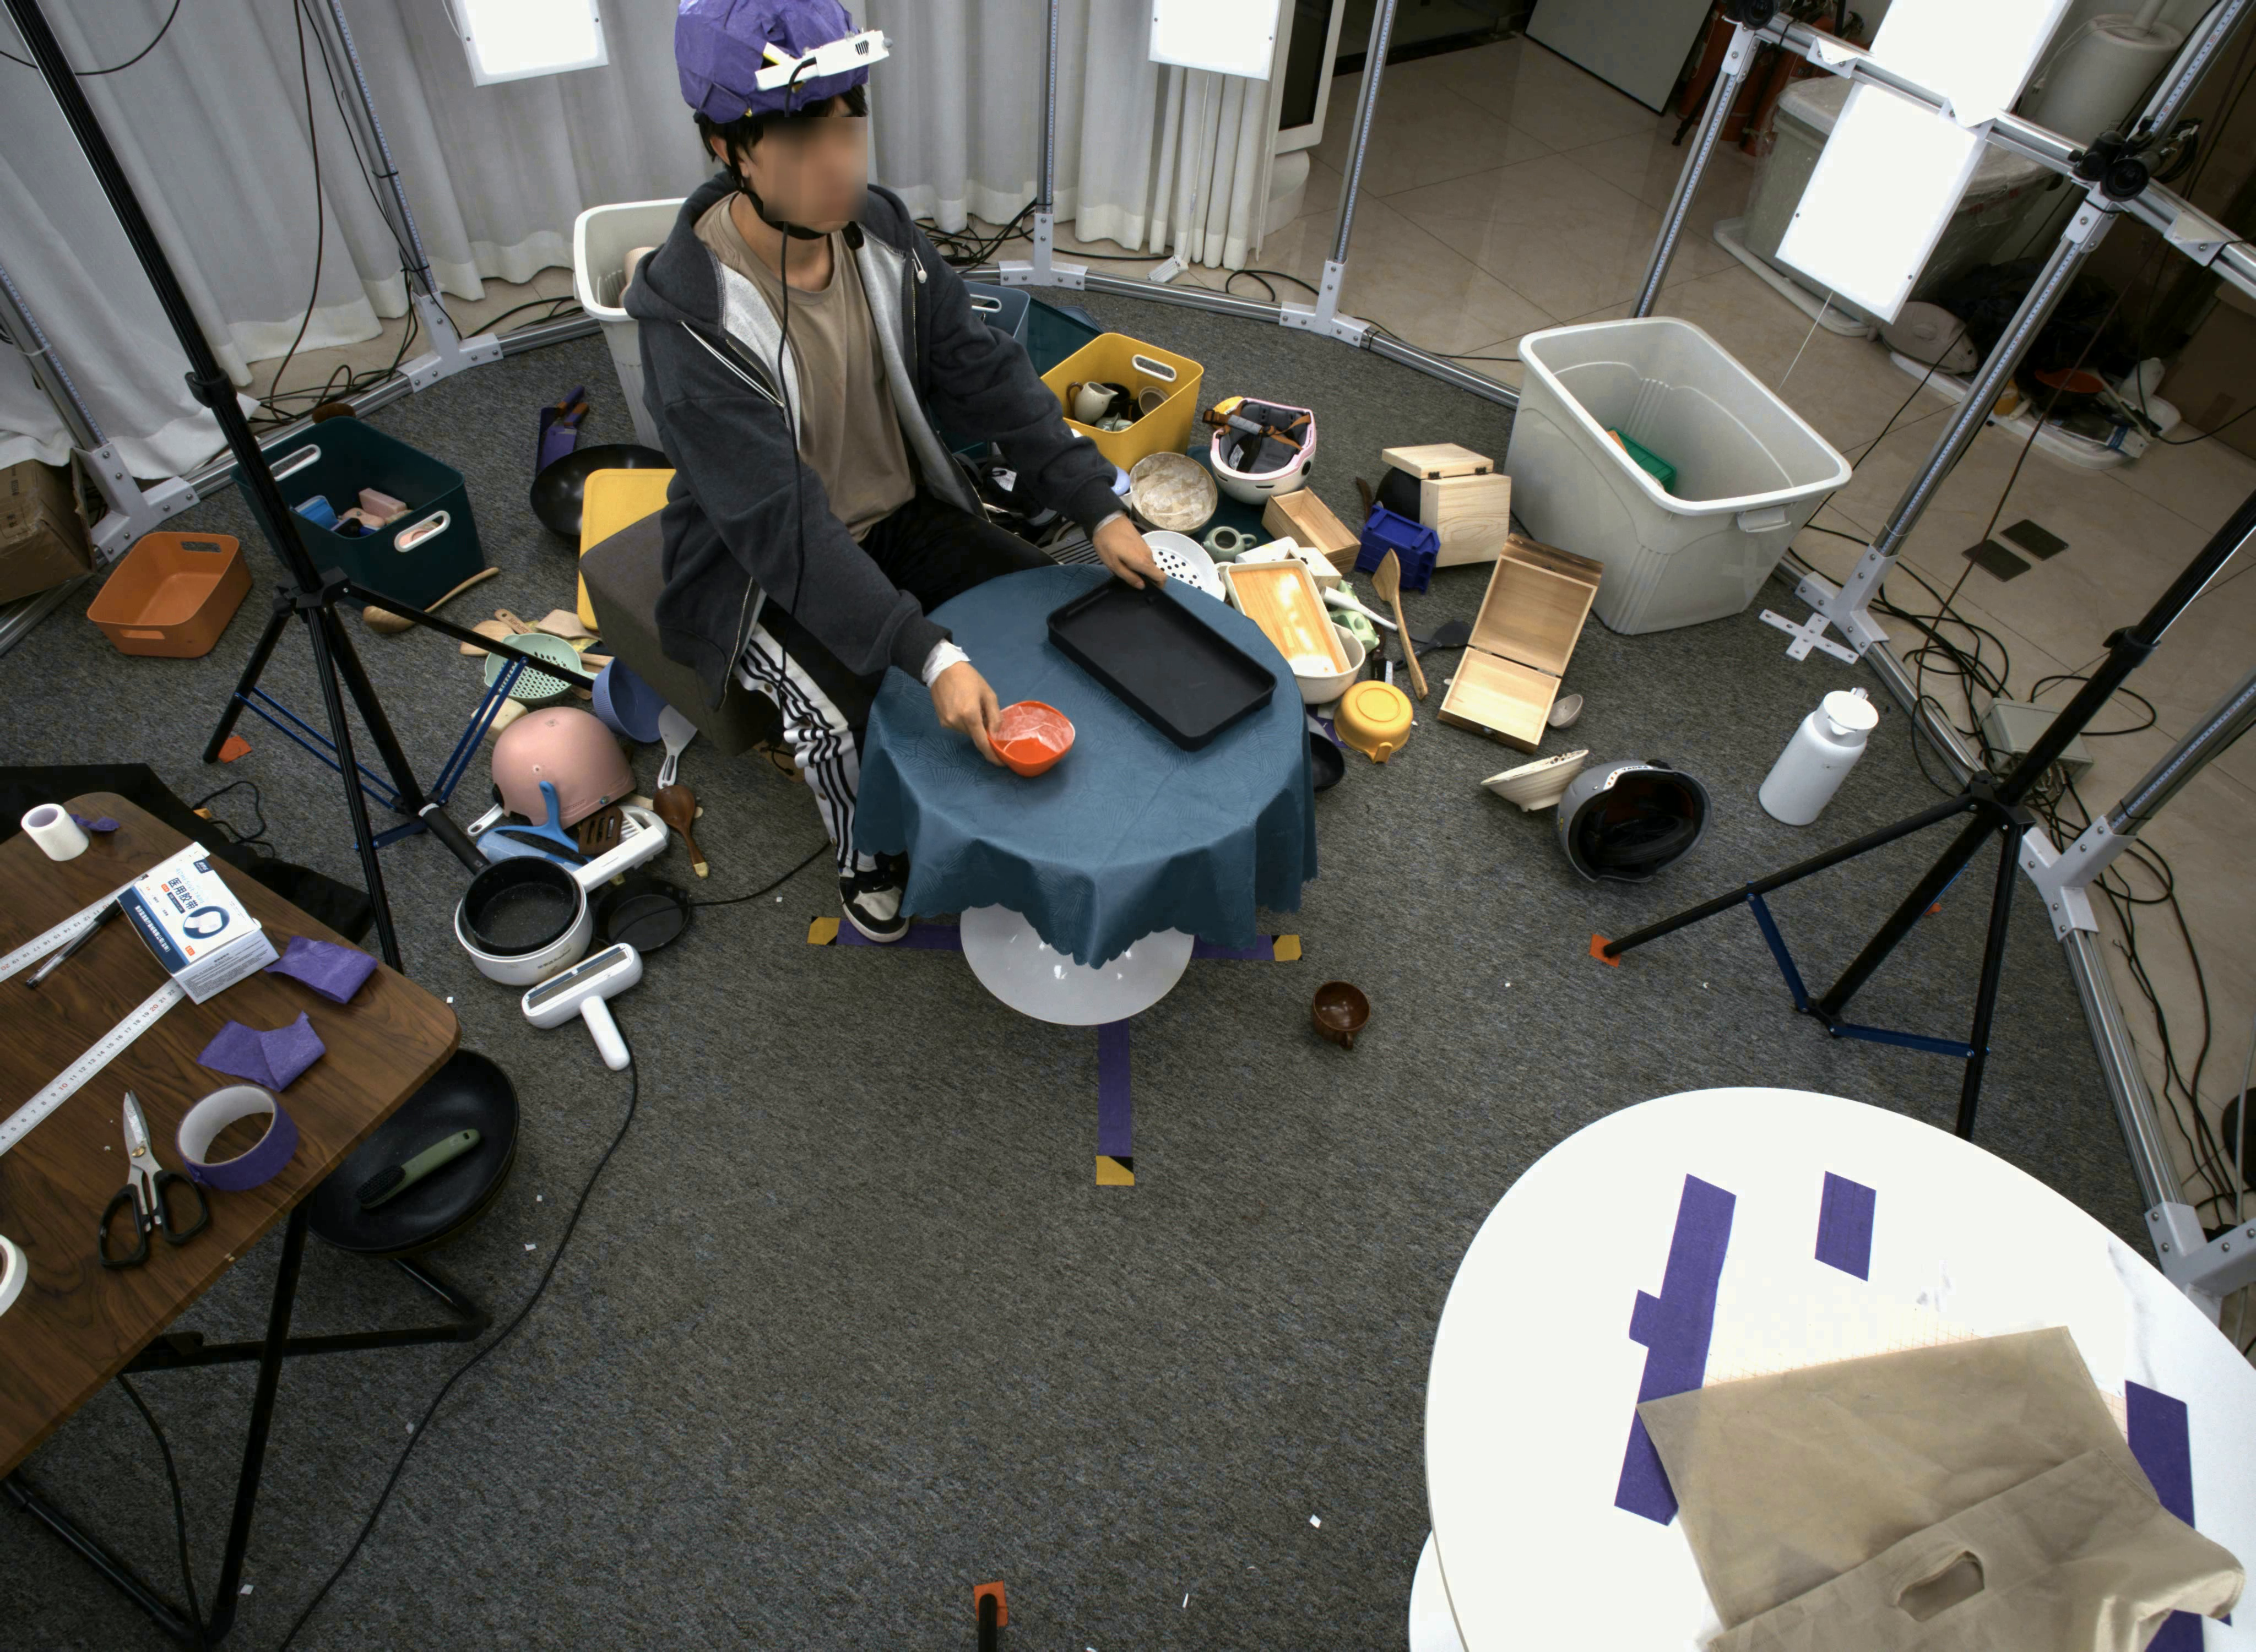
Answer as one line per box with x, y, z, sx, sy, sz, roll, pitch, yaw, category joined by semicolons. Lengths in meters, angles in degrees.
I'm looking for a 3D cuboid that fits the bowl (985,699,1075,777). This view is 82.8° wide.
-0.131;-0.112;1.717;0.119;0.050;0.122;3;49;-3;bowl

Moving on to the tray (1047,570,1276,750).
0.045;-0.246;1.857;0.186;0.036;0.323;-33;59;-27;tray
